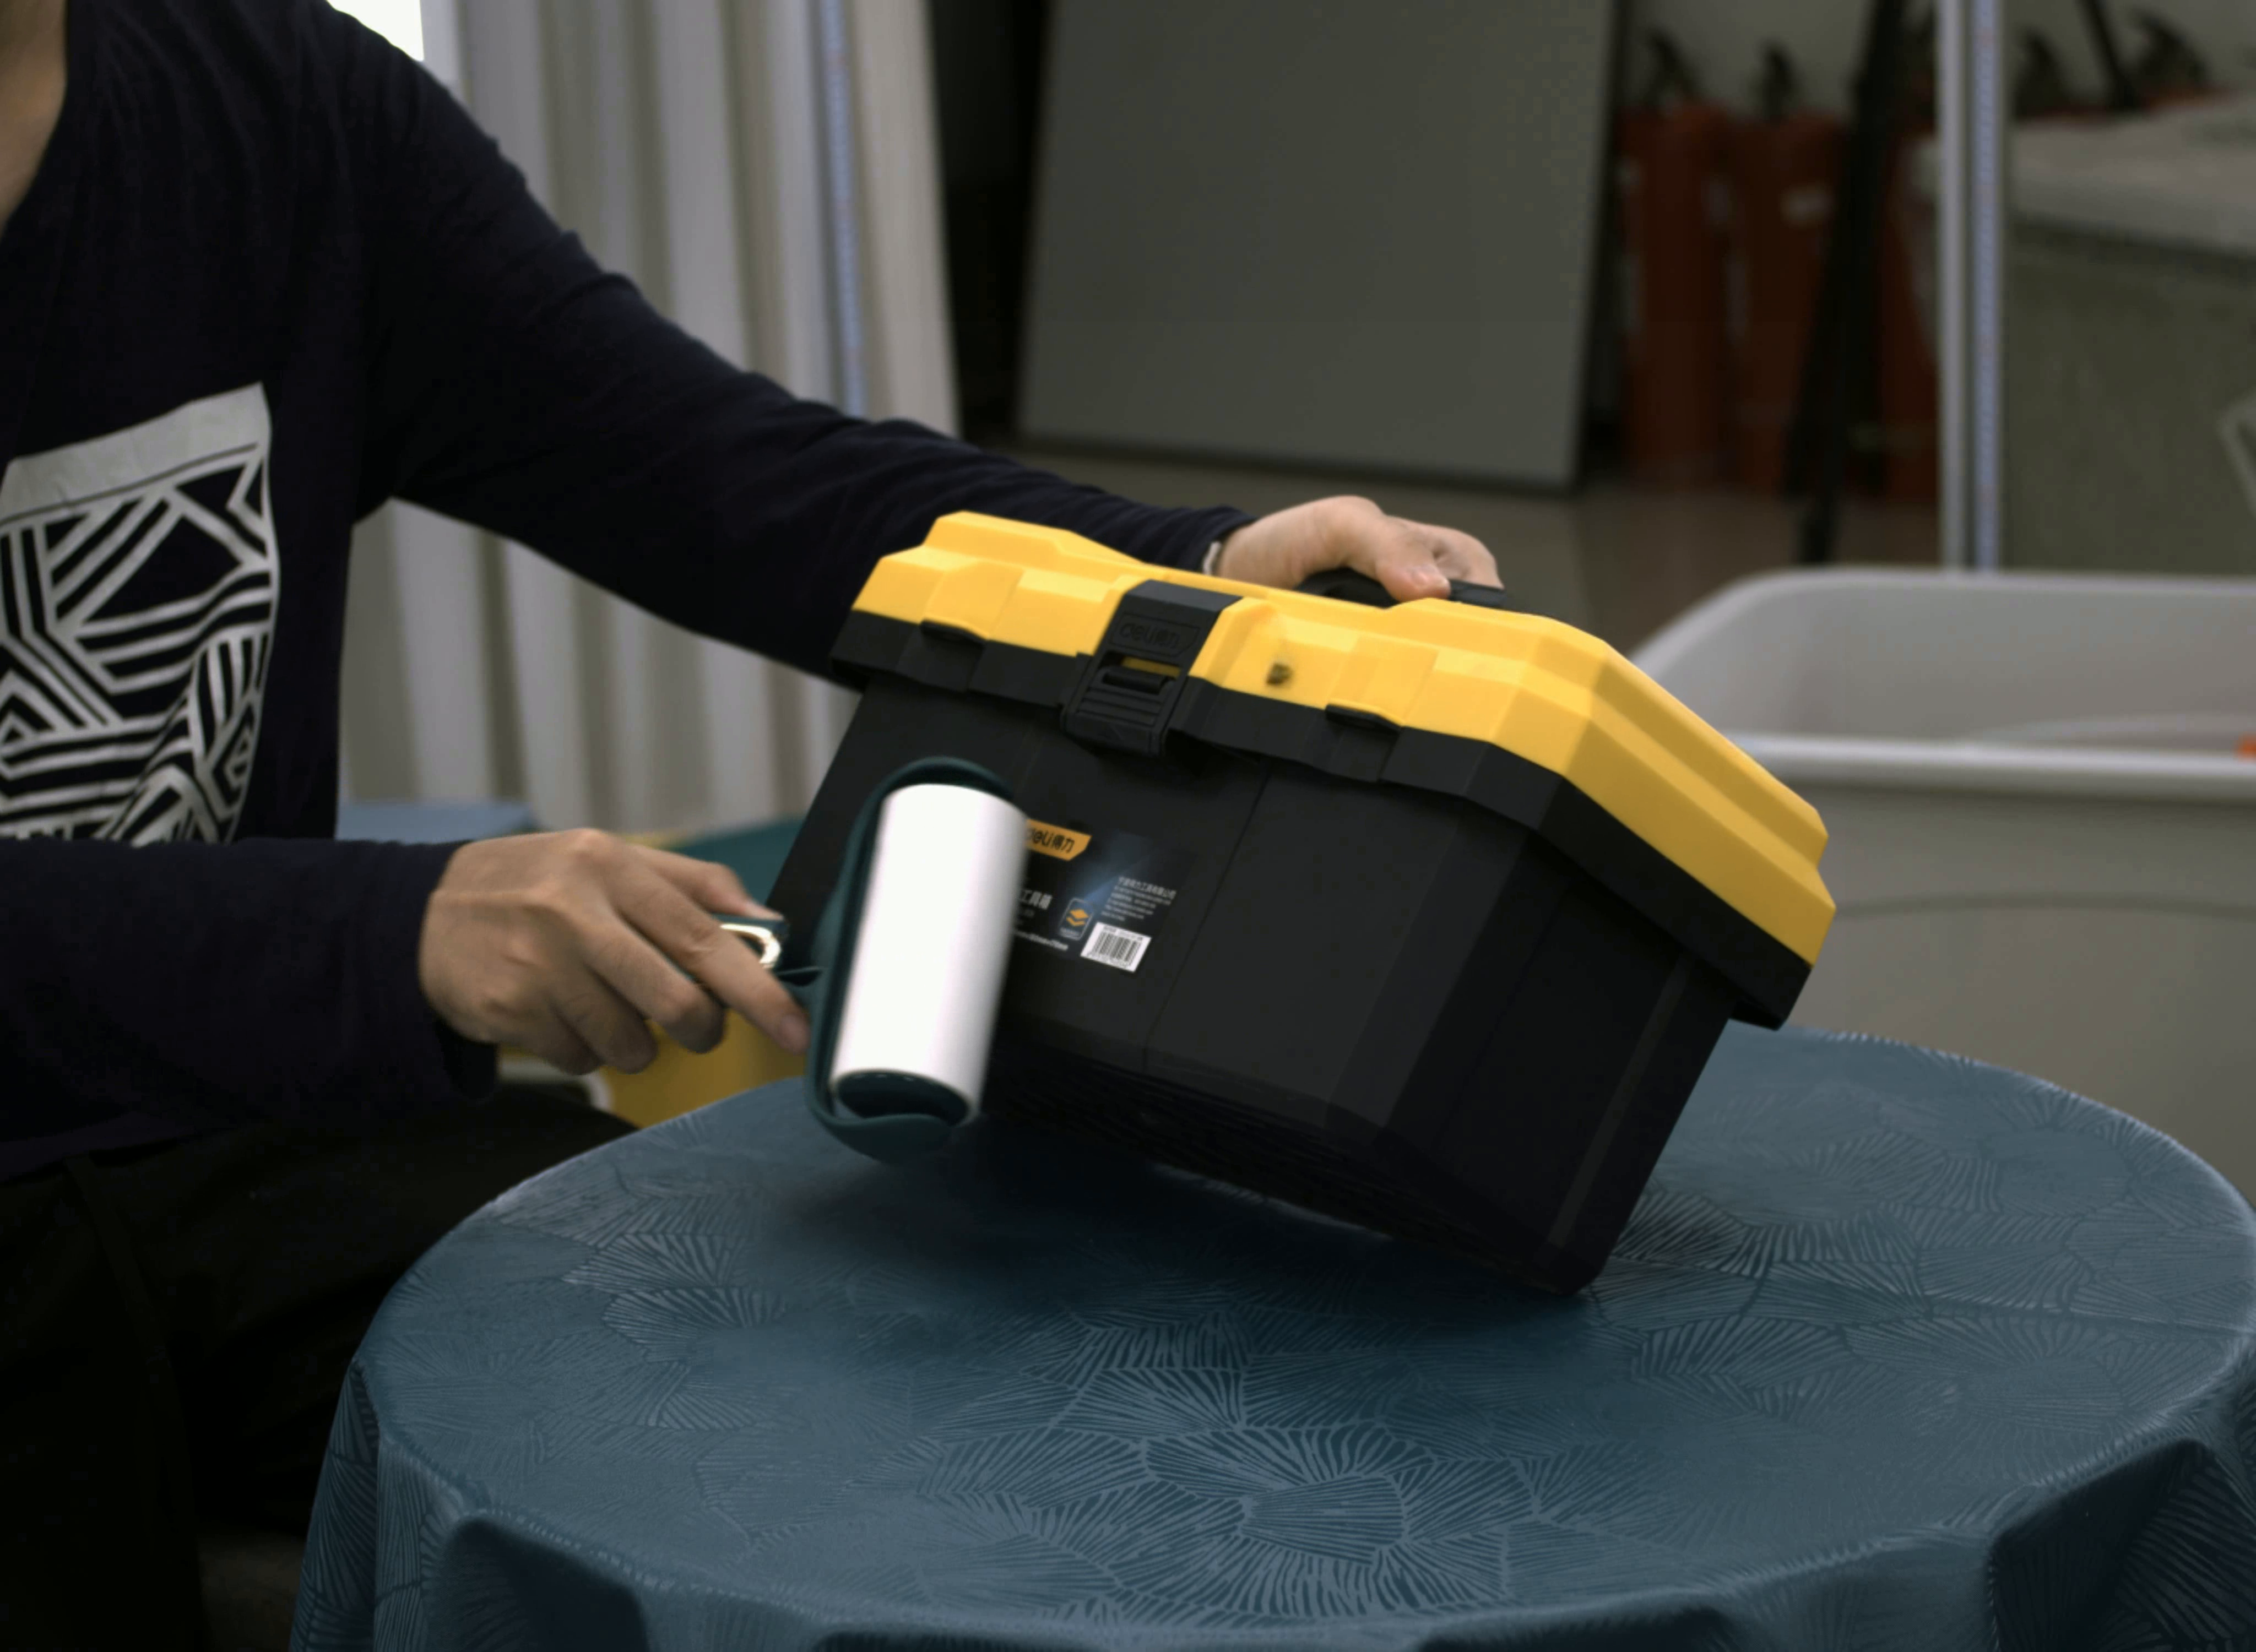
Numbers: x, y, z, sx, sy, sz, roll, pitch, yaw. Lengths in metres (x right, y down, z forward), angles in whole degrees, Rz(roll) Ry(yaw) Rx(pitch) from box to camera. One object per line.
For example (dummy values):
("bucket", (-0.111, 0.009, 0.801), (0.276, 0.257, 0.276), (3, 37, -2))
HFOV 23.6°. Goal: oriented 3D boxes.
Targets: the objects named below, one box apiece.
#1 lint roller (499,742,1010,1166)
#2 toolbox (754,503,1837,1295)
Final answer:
("lint roller", (-0.128, 0.043, 1.719), (0.180, 0.135, 0.048), (-2, -28, 22))
("toolbox", (0.041, 0.018, 1.733), (0.178, 0.174, 0.355), (35, -14, -37))
